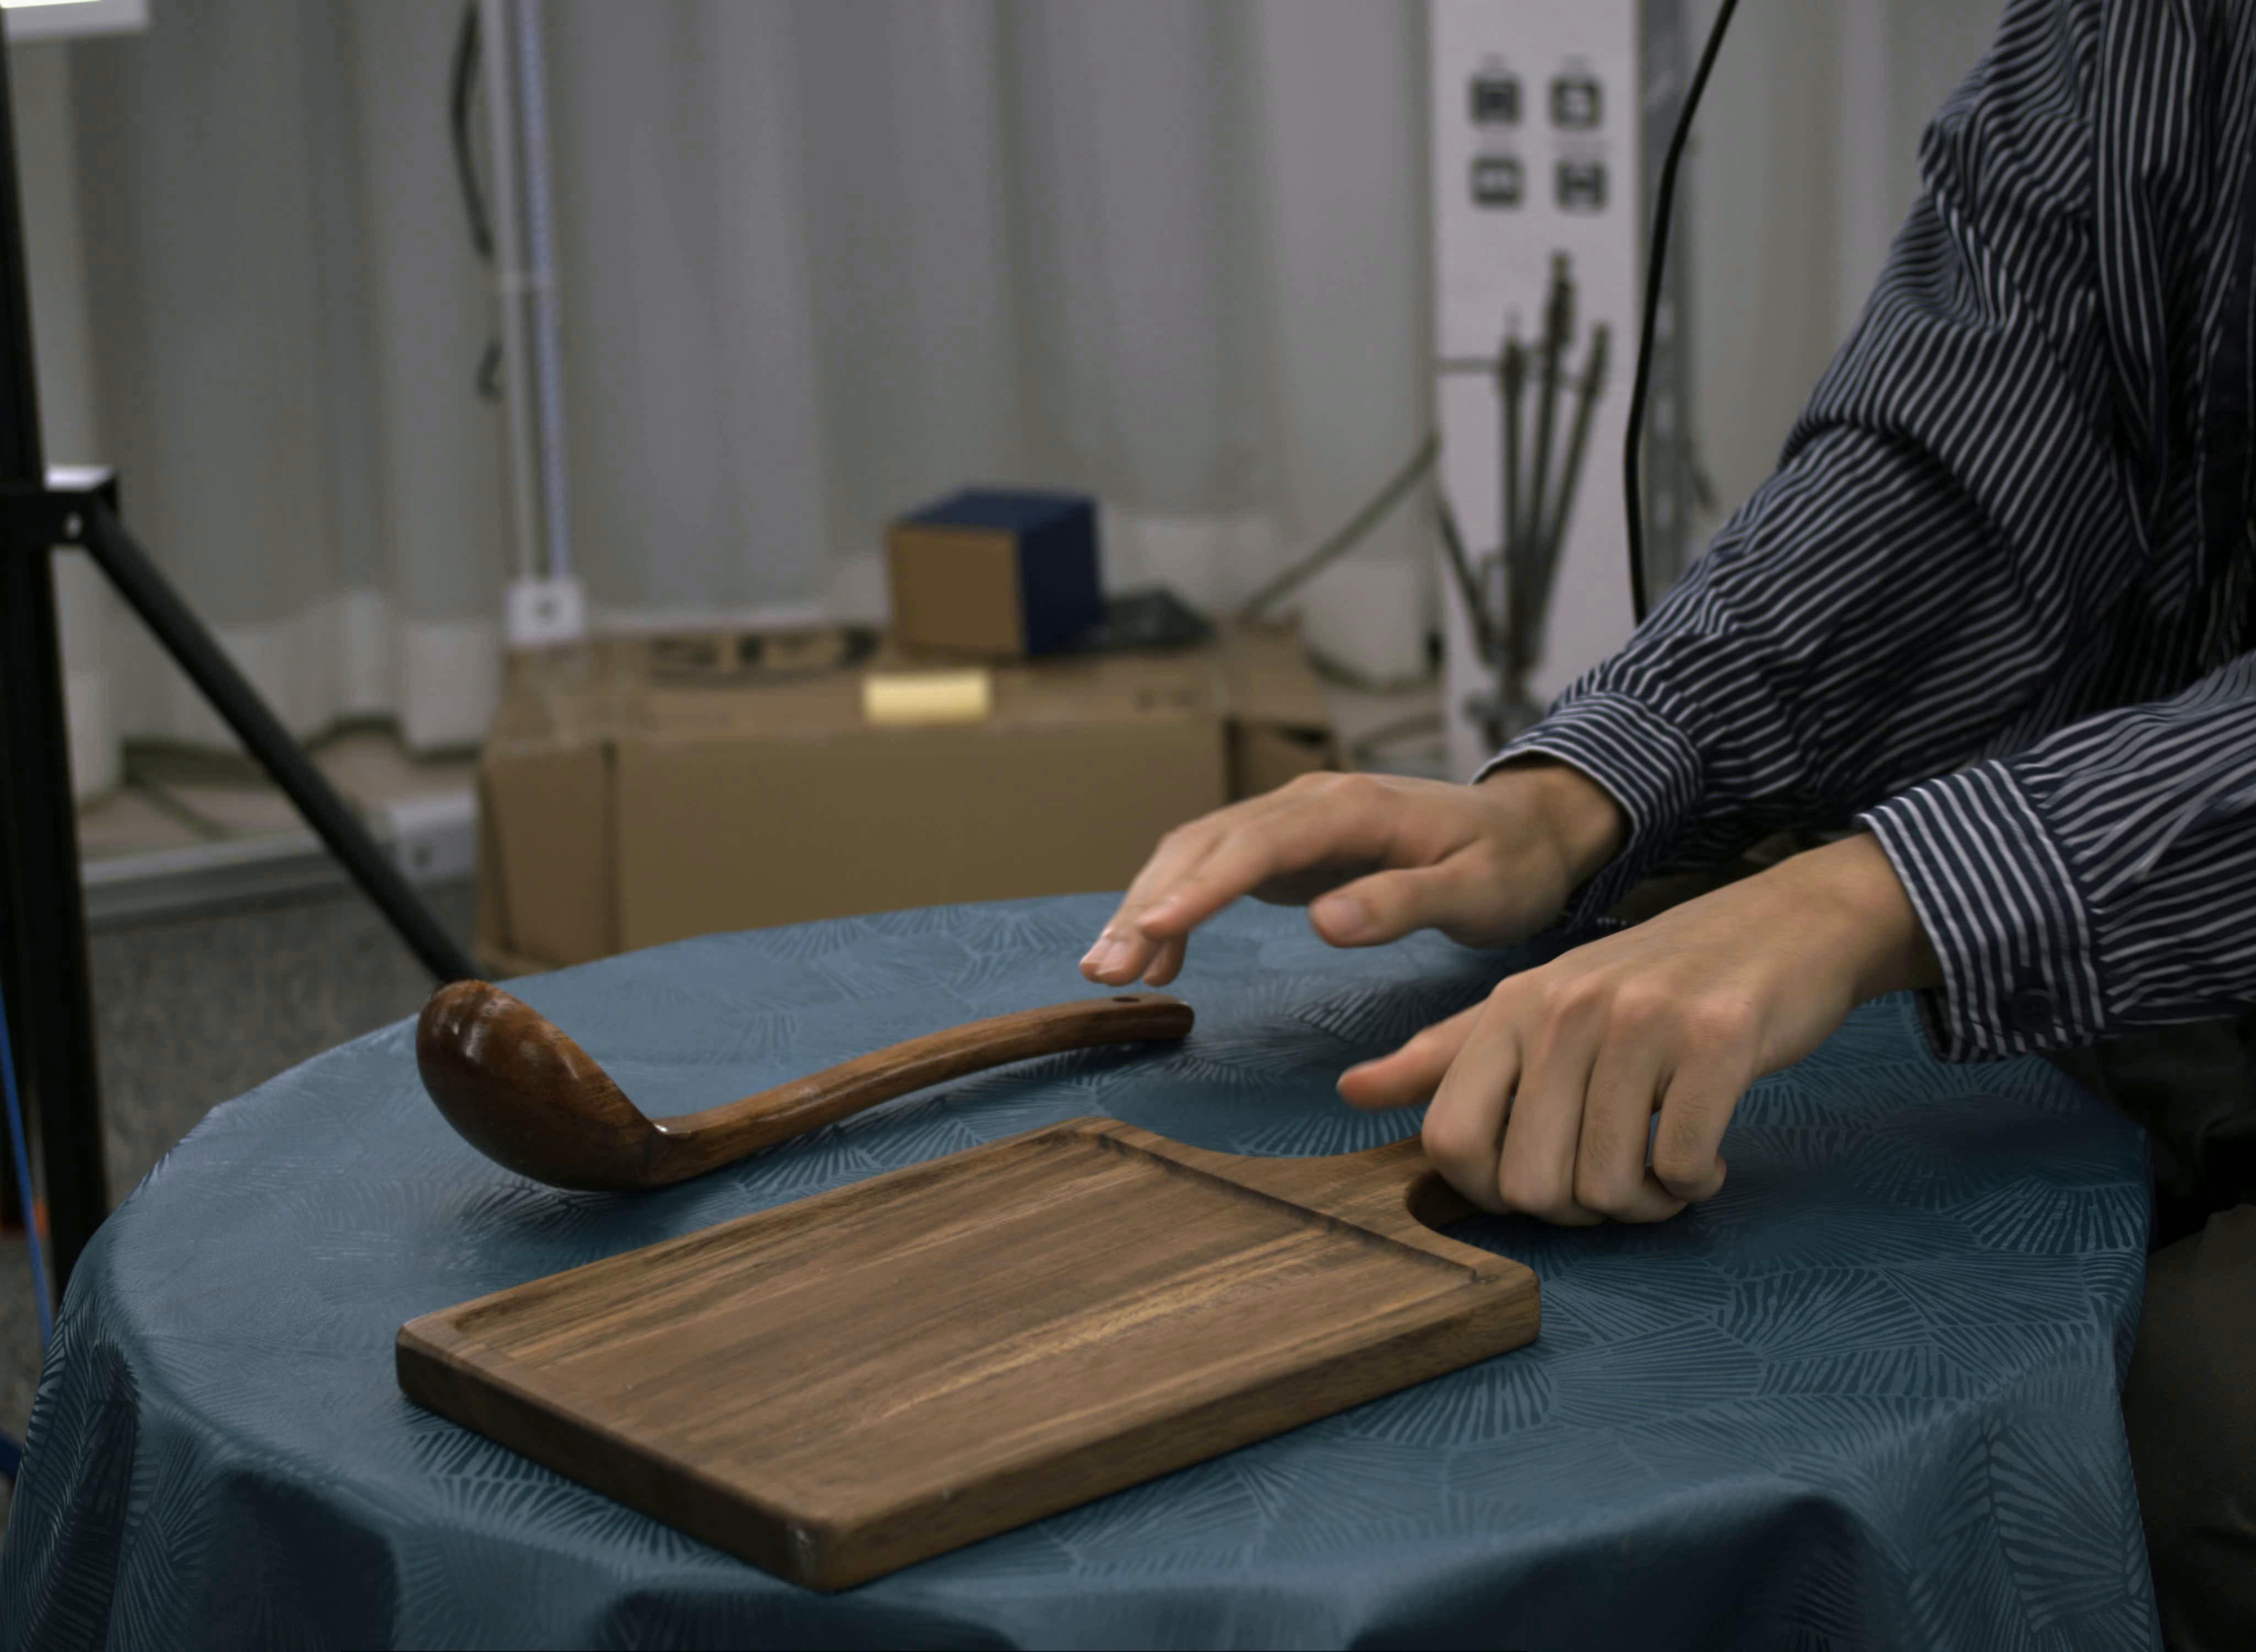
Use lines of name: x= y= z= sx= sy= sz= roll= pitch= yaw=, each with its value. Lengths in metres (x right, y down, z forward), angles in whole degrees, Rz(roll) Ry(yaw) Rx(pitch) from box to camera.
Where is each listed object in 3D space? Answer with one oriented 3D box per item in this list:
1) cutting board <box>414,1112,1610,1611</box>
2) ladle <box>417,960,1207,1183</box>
cutting board: x=0.002 y=0.129 z=1.450 sx=0.344 sy=0.023 sz=0.206 roll=-14 pitch=20 yaw=-36
ladle: x=-0.091 y=0.054 z=1.625 sx=0.268 sy=0.076 sz=0.084 roll=-13 pitch=19 yaw=-33
